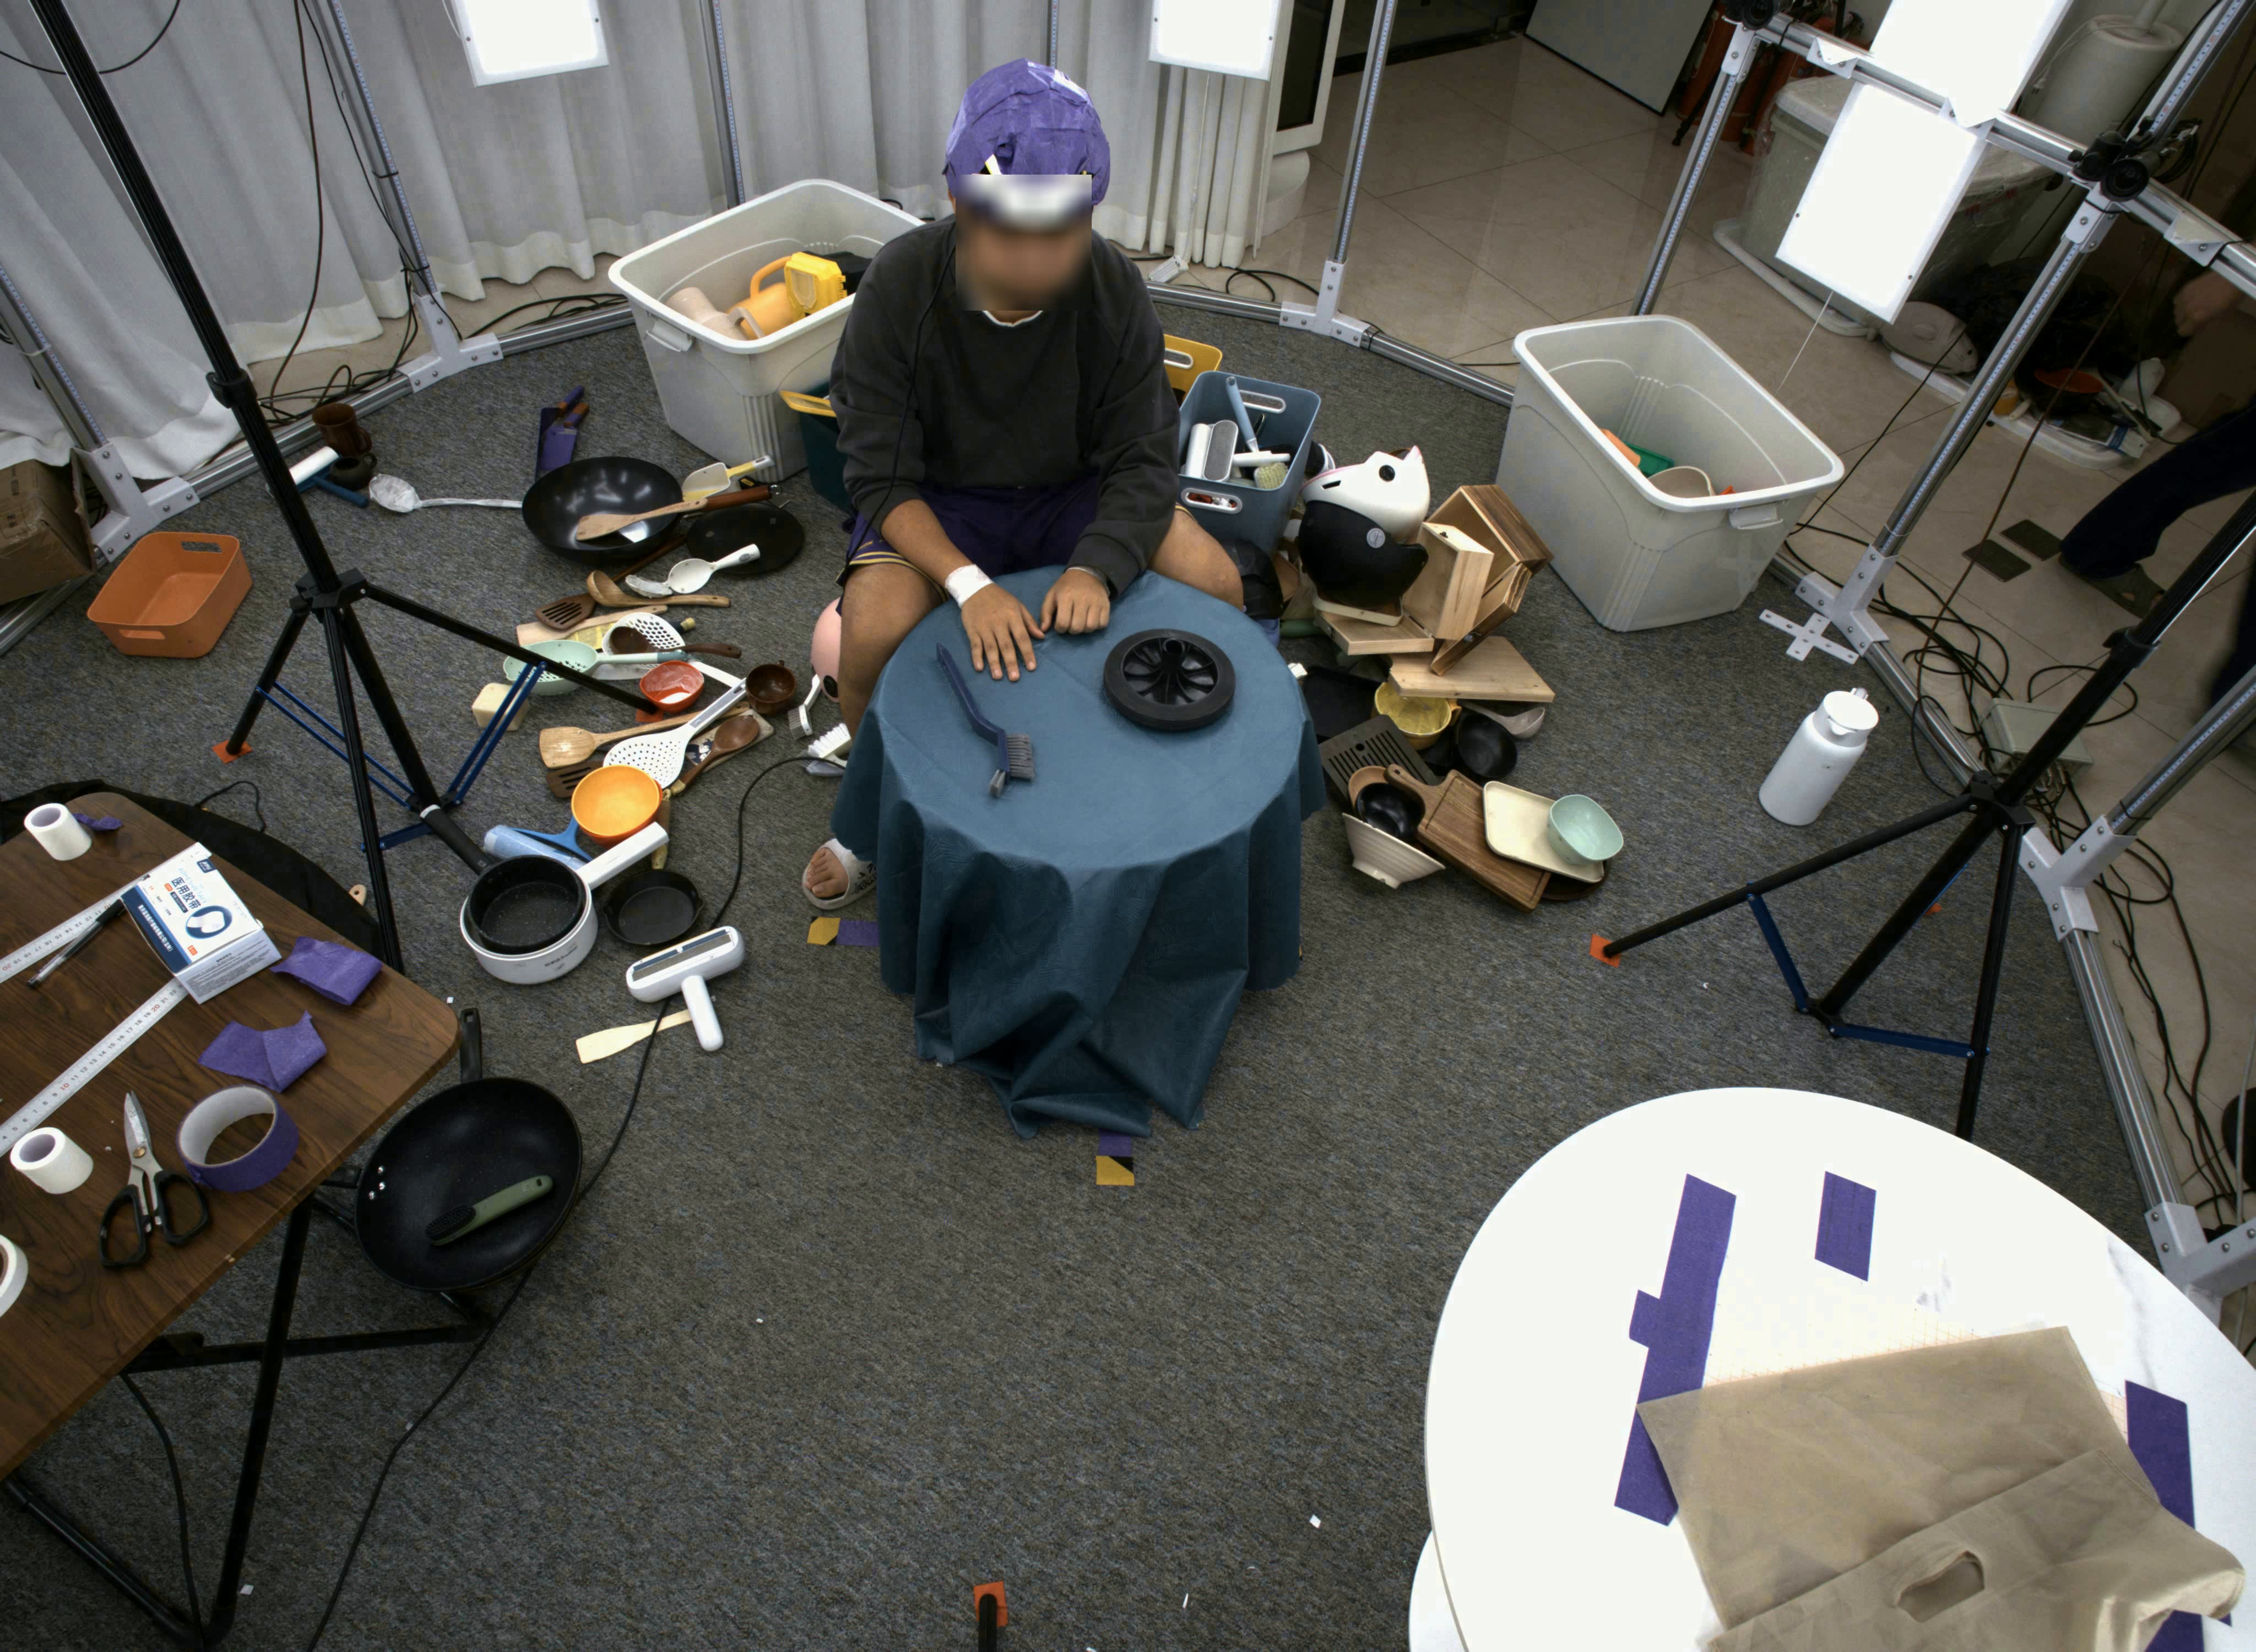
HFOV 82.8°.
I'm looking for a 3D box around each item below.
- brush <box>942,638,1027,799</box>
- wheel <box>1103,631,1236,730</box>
[{"bbox_3d":[-0.217,-0.153,1.764,0.096,0.033,0.279,-24,56,-22],"label":"brush"},{"bbox_3d":[0.060,-0.224,1.816,0.192,0.077,0.190,29,53,21],"label":"wheel"}]
